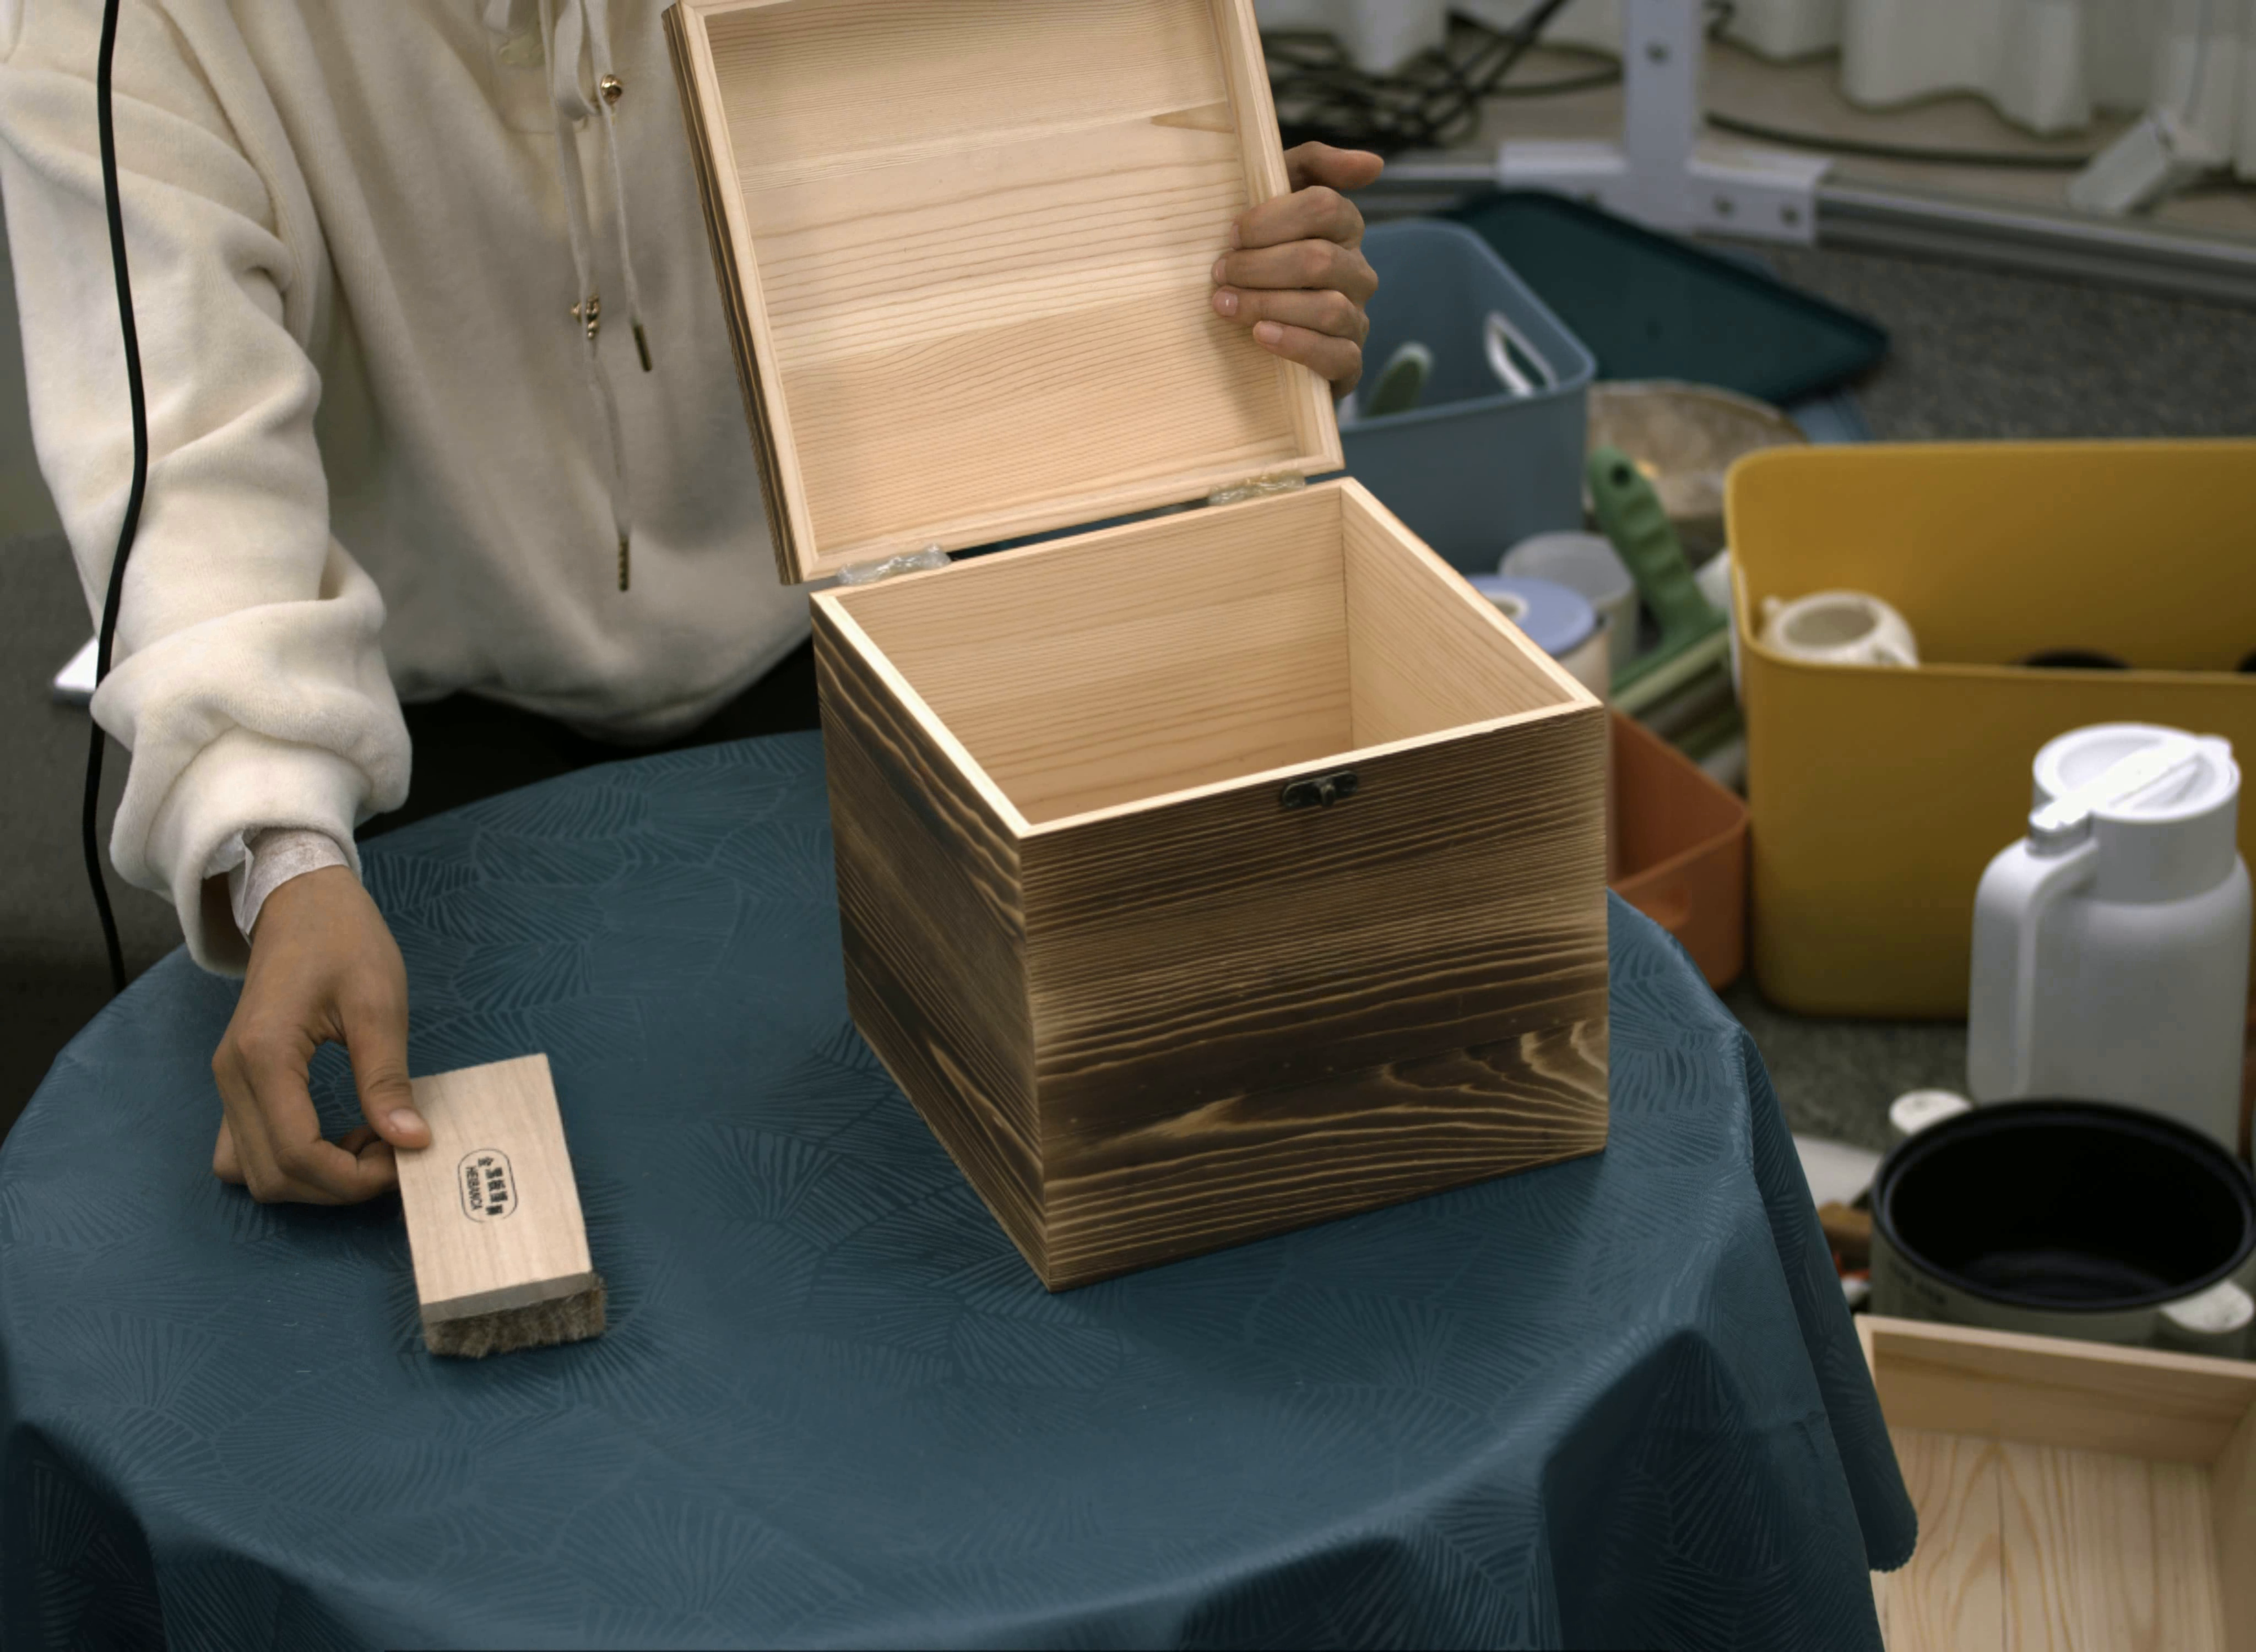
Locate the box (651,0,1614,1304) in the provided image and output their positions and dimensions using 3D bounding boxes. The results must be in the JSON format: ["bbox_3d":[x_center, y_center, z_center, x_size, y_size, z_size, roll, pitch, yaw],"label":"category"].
[{"bbox_3d":[0.000,-0.092,1.884,0.209,0.371,0.324,-14,29,-18],"label":"box"}]

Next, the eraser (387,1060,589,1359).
[{"bbox_3d":[-0.210,0.127,1.840,0.057,0.028,0.141,-10,27,-6],"label":"eraser"}]
